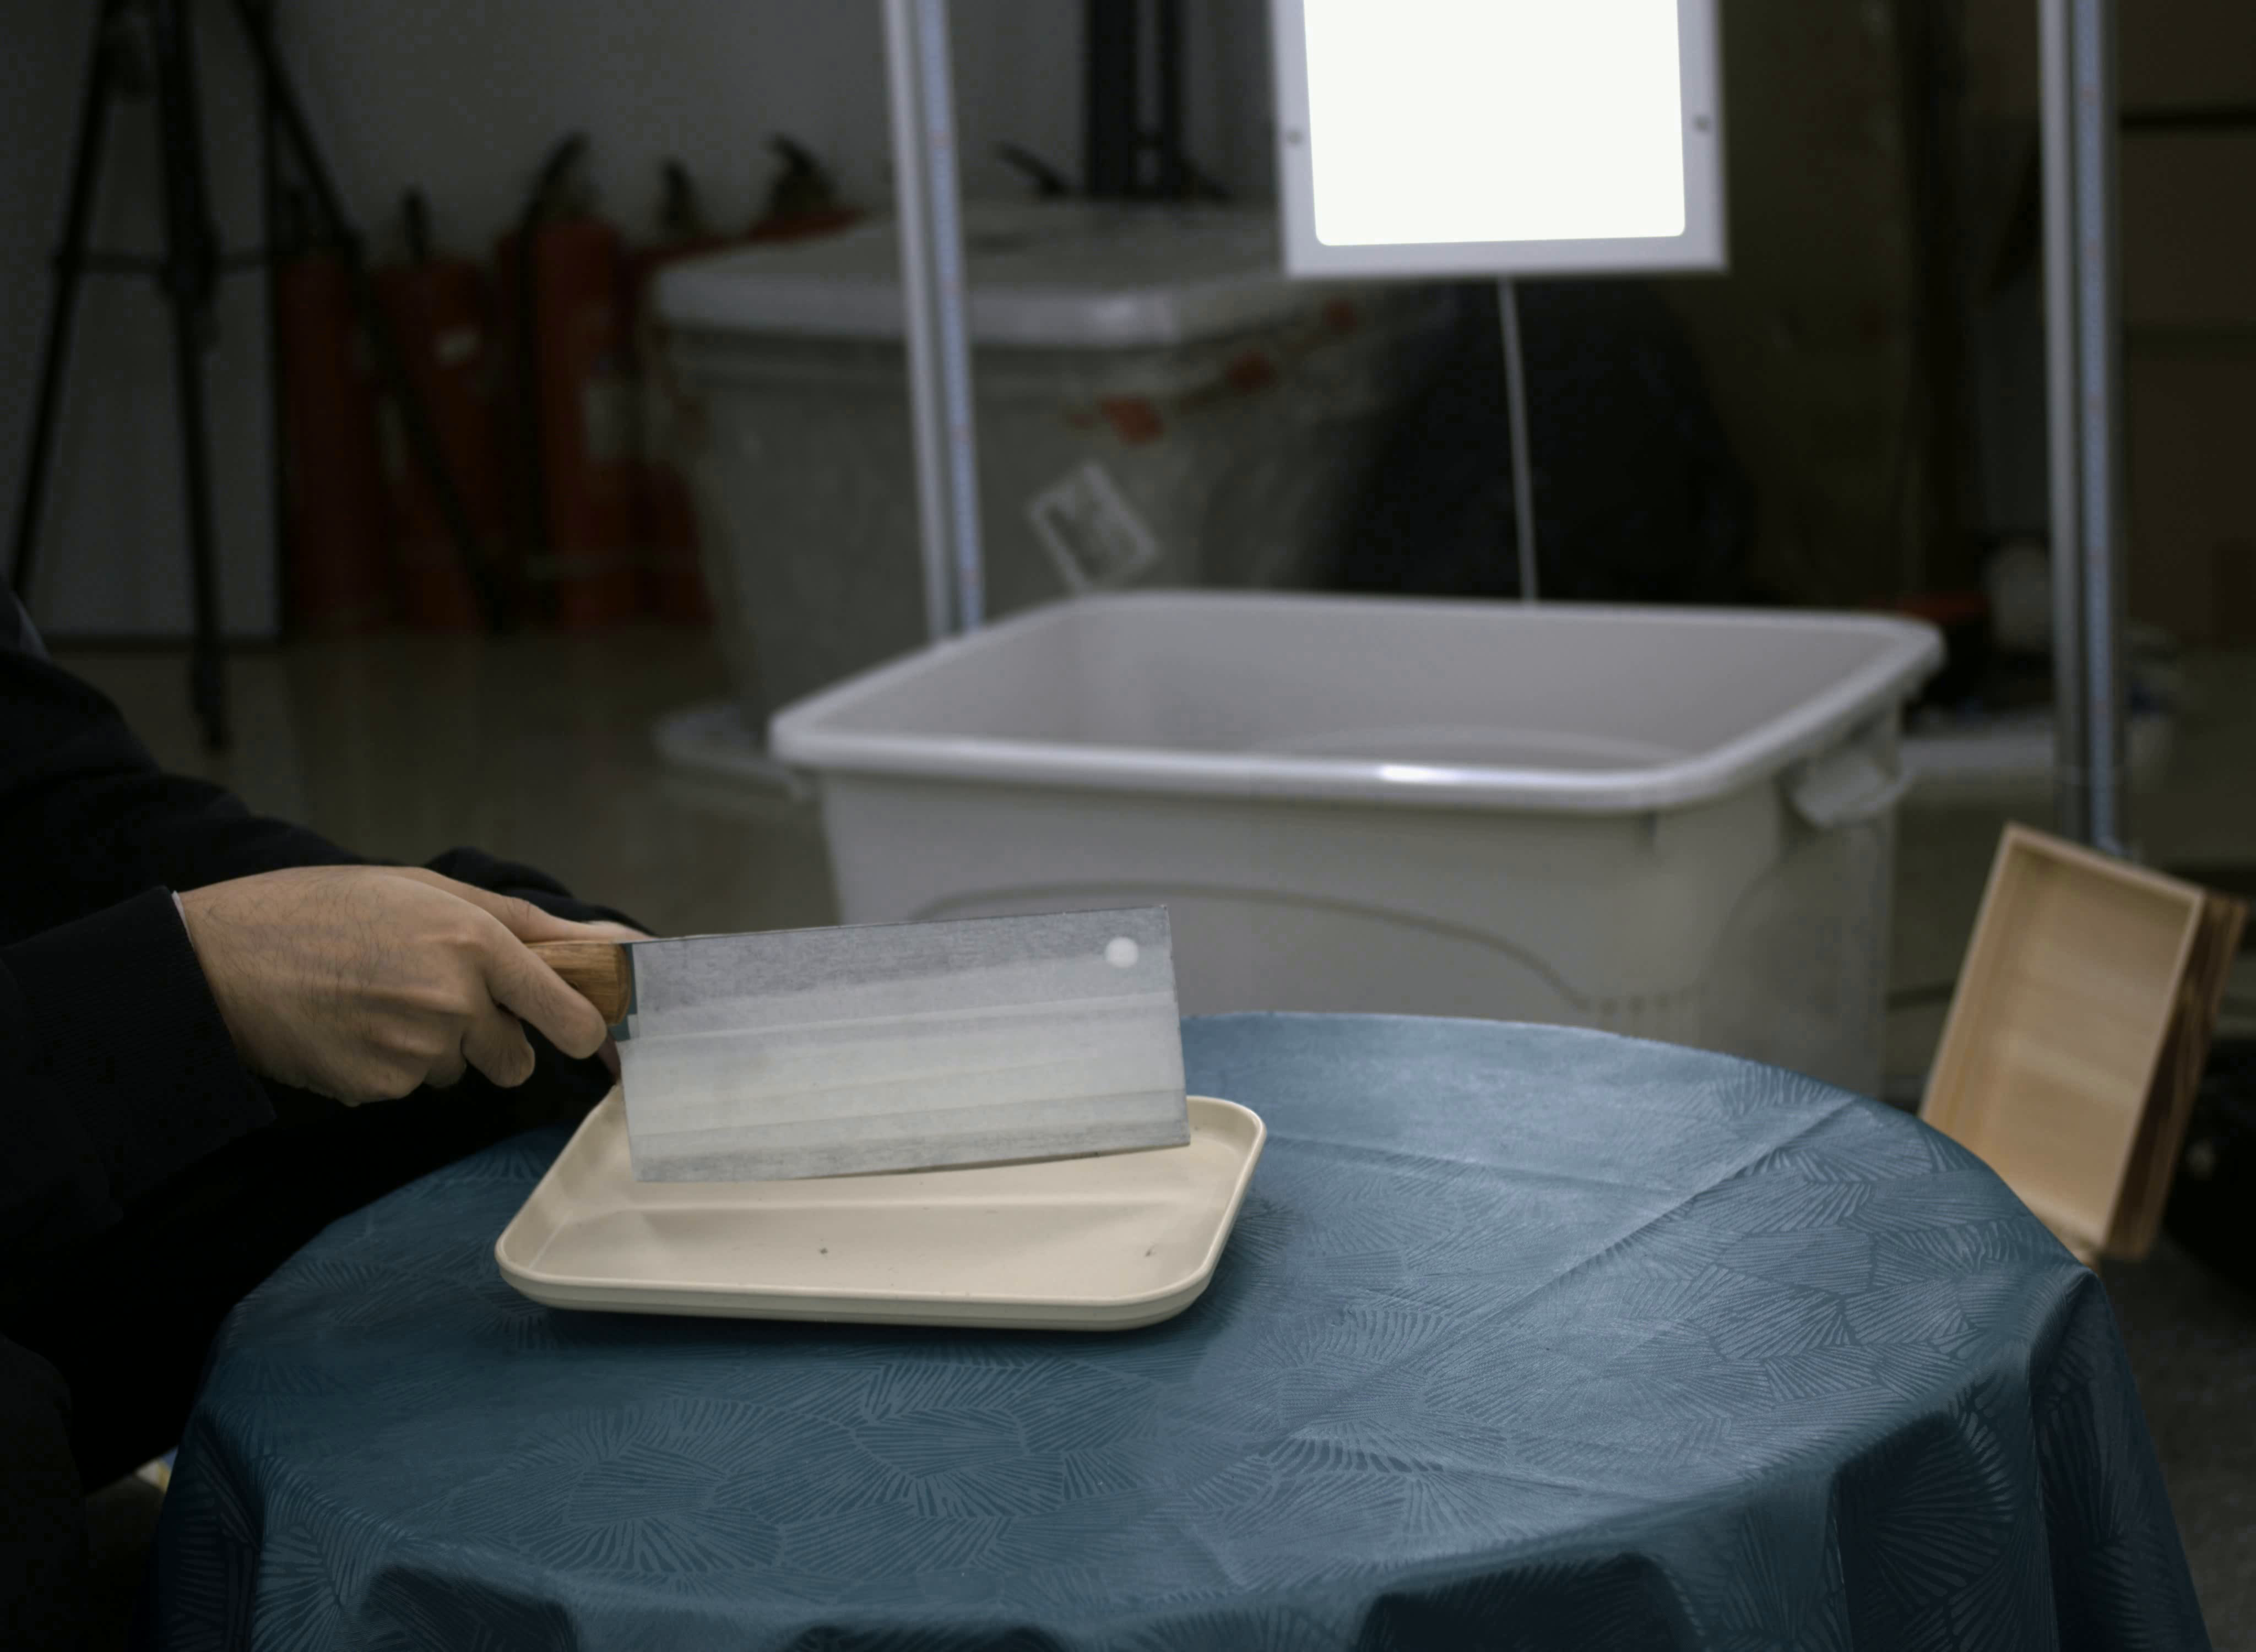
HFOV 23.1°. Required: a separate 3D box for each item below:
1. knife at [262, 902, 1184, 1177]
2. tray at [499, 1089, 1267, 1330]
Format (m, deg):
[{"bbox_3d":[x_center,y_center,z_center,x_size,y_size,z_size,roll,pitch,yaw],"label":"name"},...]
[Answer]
[{"bbox_3d":[-0.134,0.075,1.840,0.307,0.093,0.021,-4,25,8],"label":"knife"},{"bbox_3d":[-0.079,0.126,1.835,0.241,0.017,0.169,0,21,13],"label":"tray"}]
